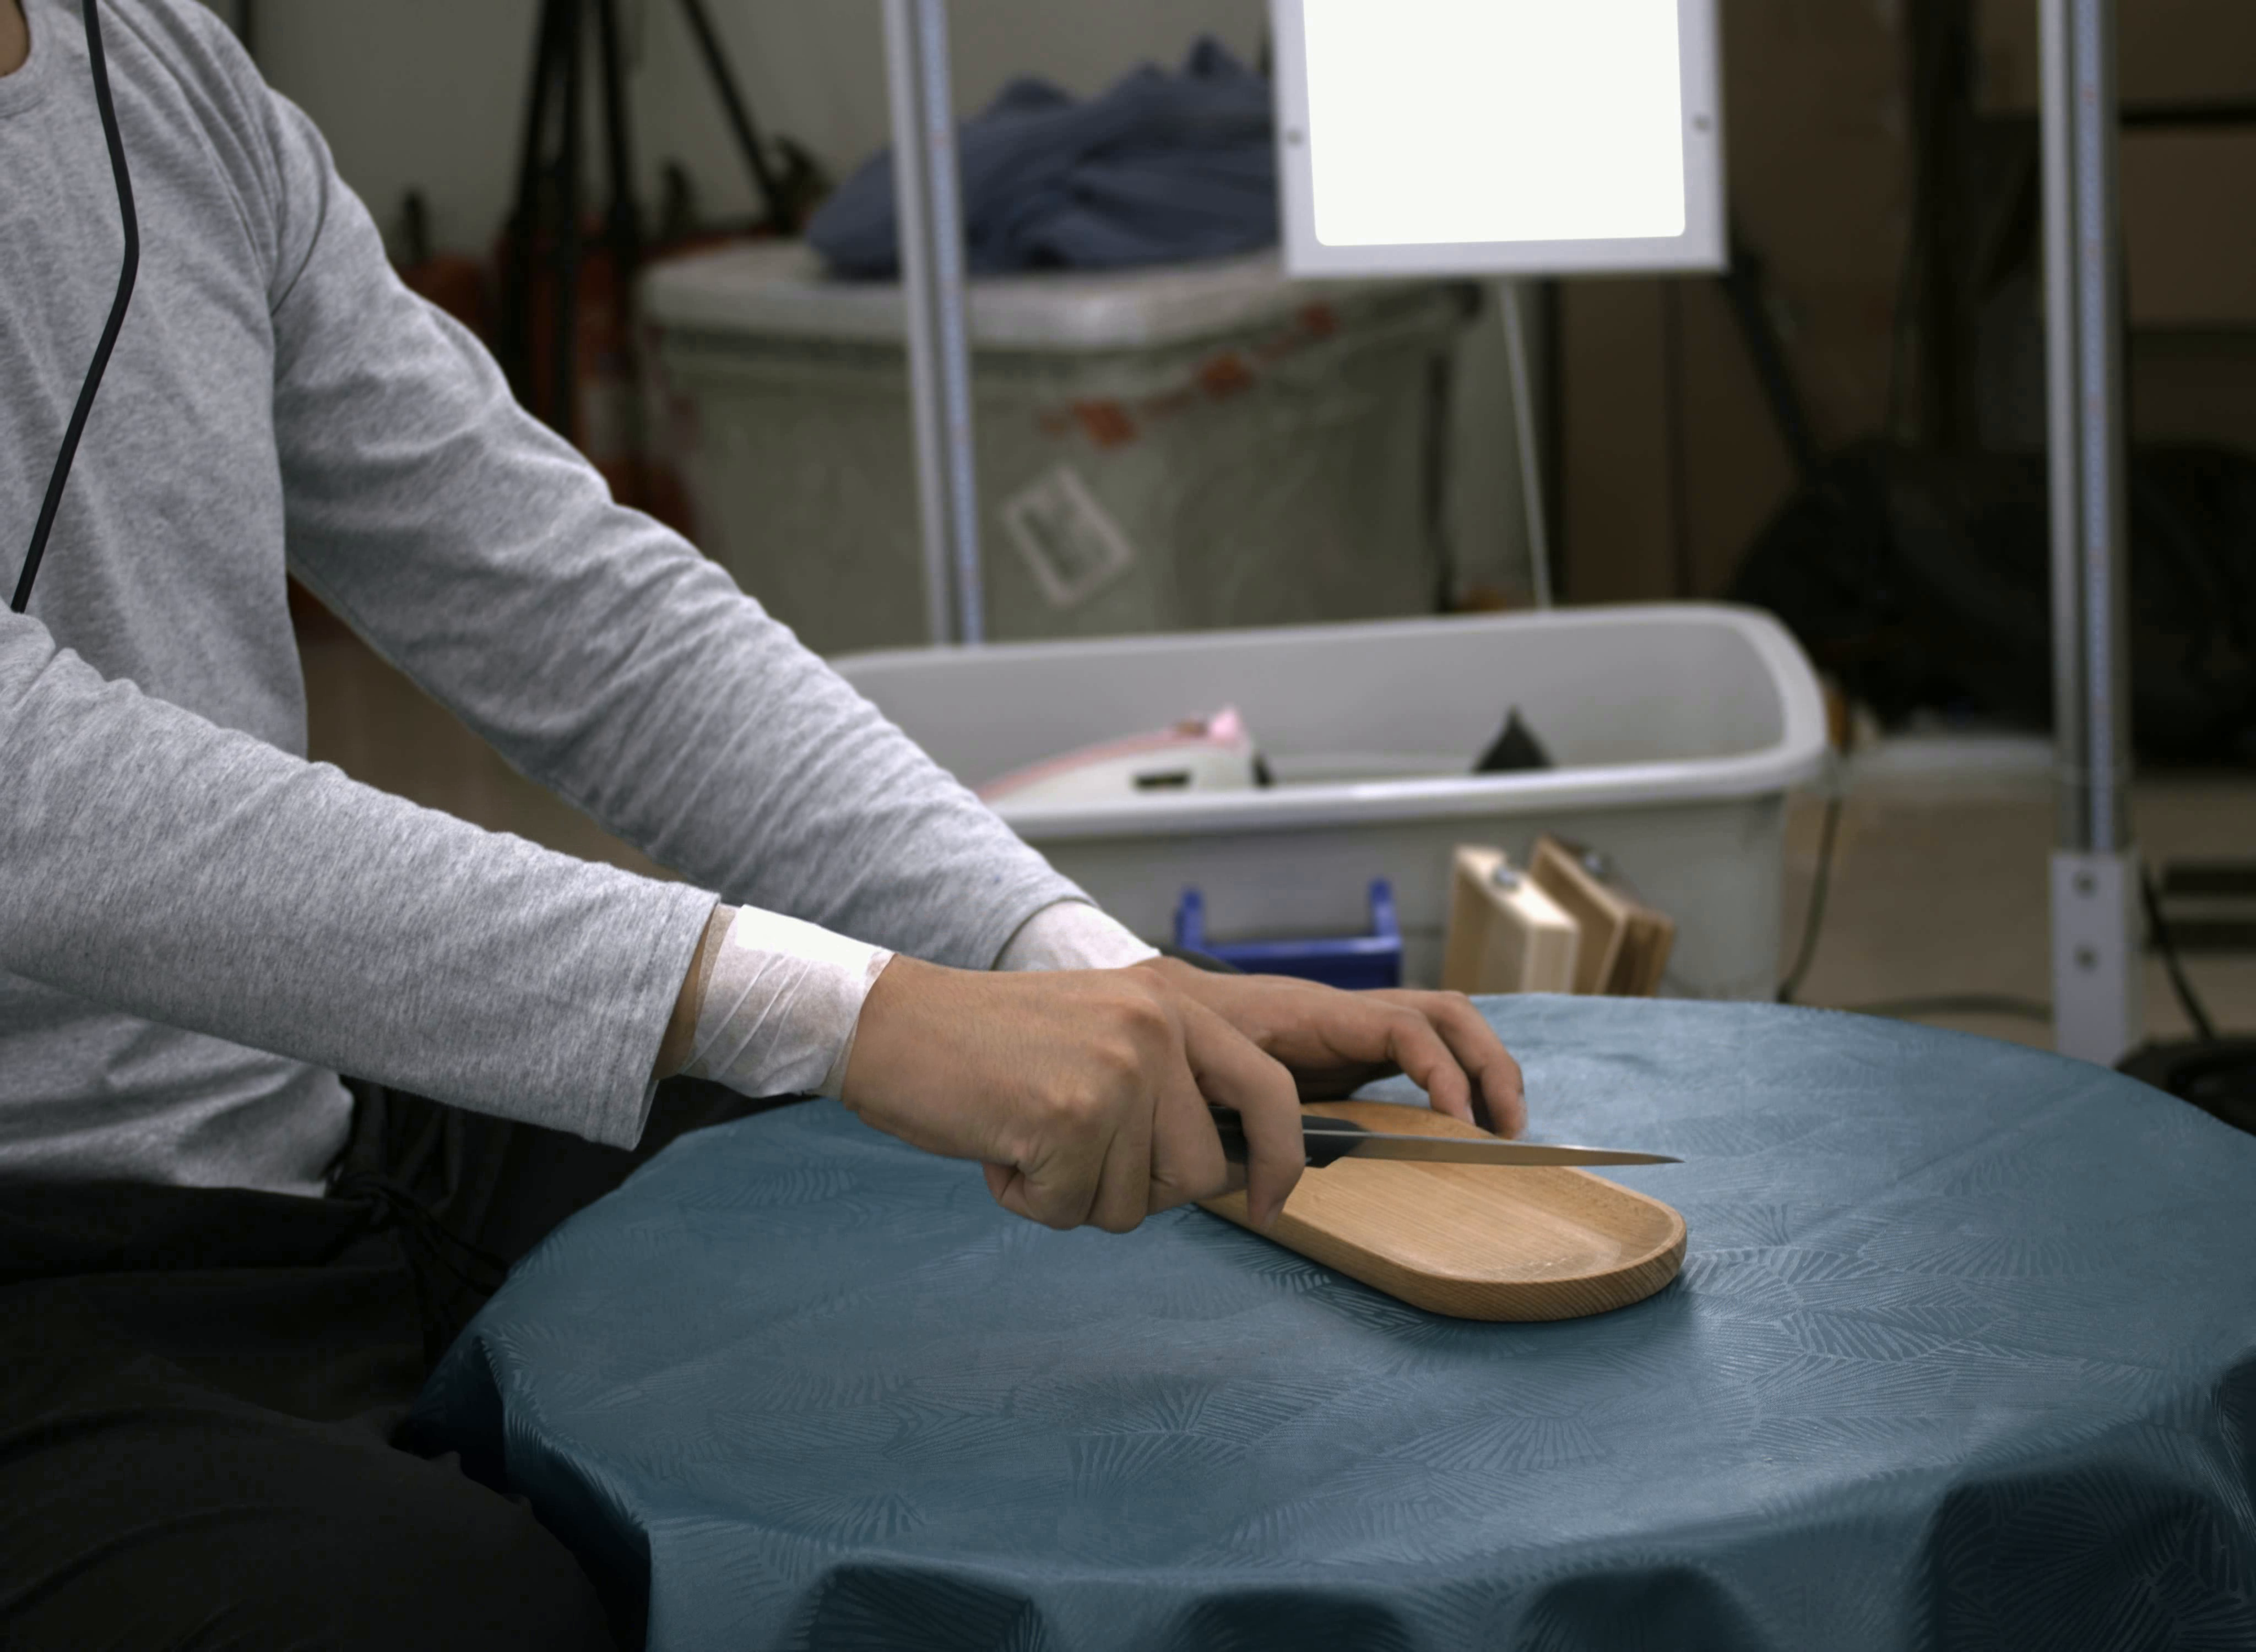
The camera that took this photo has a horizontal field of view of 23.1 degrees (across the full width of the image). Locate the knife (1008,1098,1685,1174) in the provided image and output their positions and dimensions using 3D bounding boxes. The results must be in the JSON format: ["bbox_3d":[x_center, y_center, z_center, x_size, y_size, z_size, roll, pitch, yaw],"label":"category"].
[{"bbox_3d":[0.074,0.100,1.732,0.234,0.016,0.025,5,-23,-22],"label":"knife"}]

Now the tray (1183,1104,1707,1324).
[{"bbox_3d":[0.103,0.128,1.830,0.099,0.020,0.235,-14,17,-27],"label":"tray"}]
